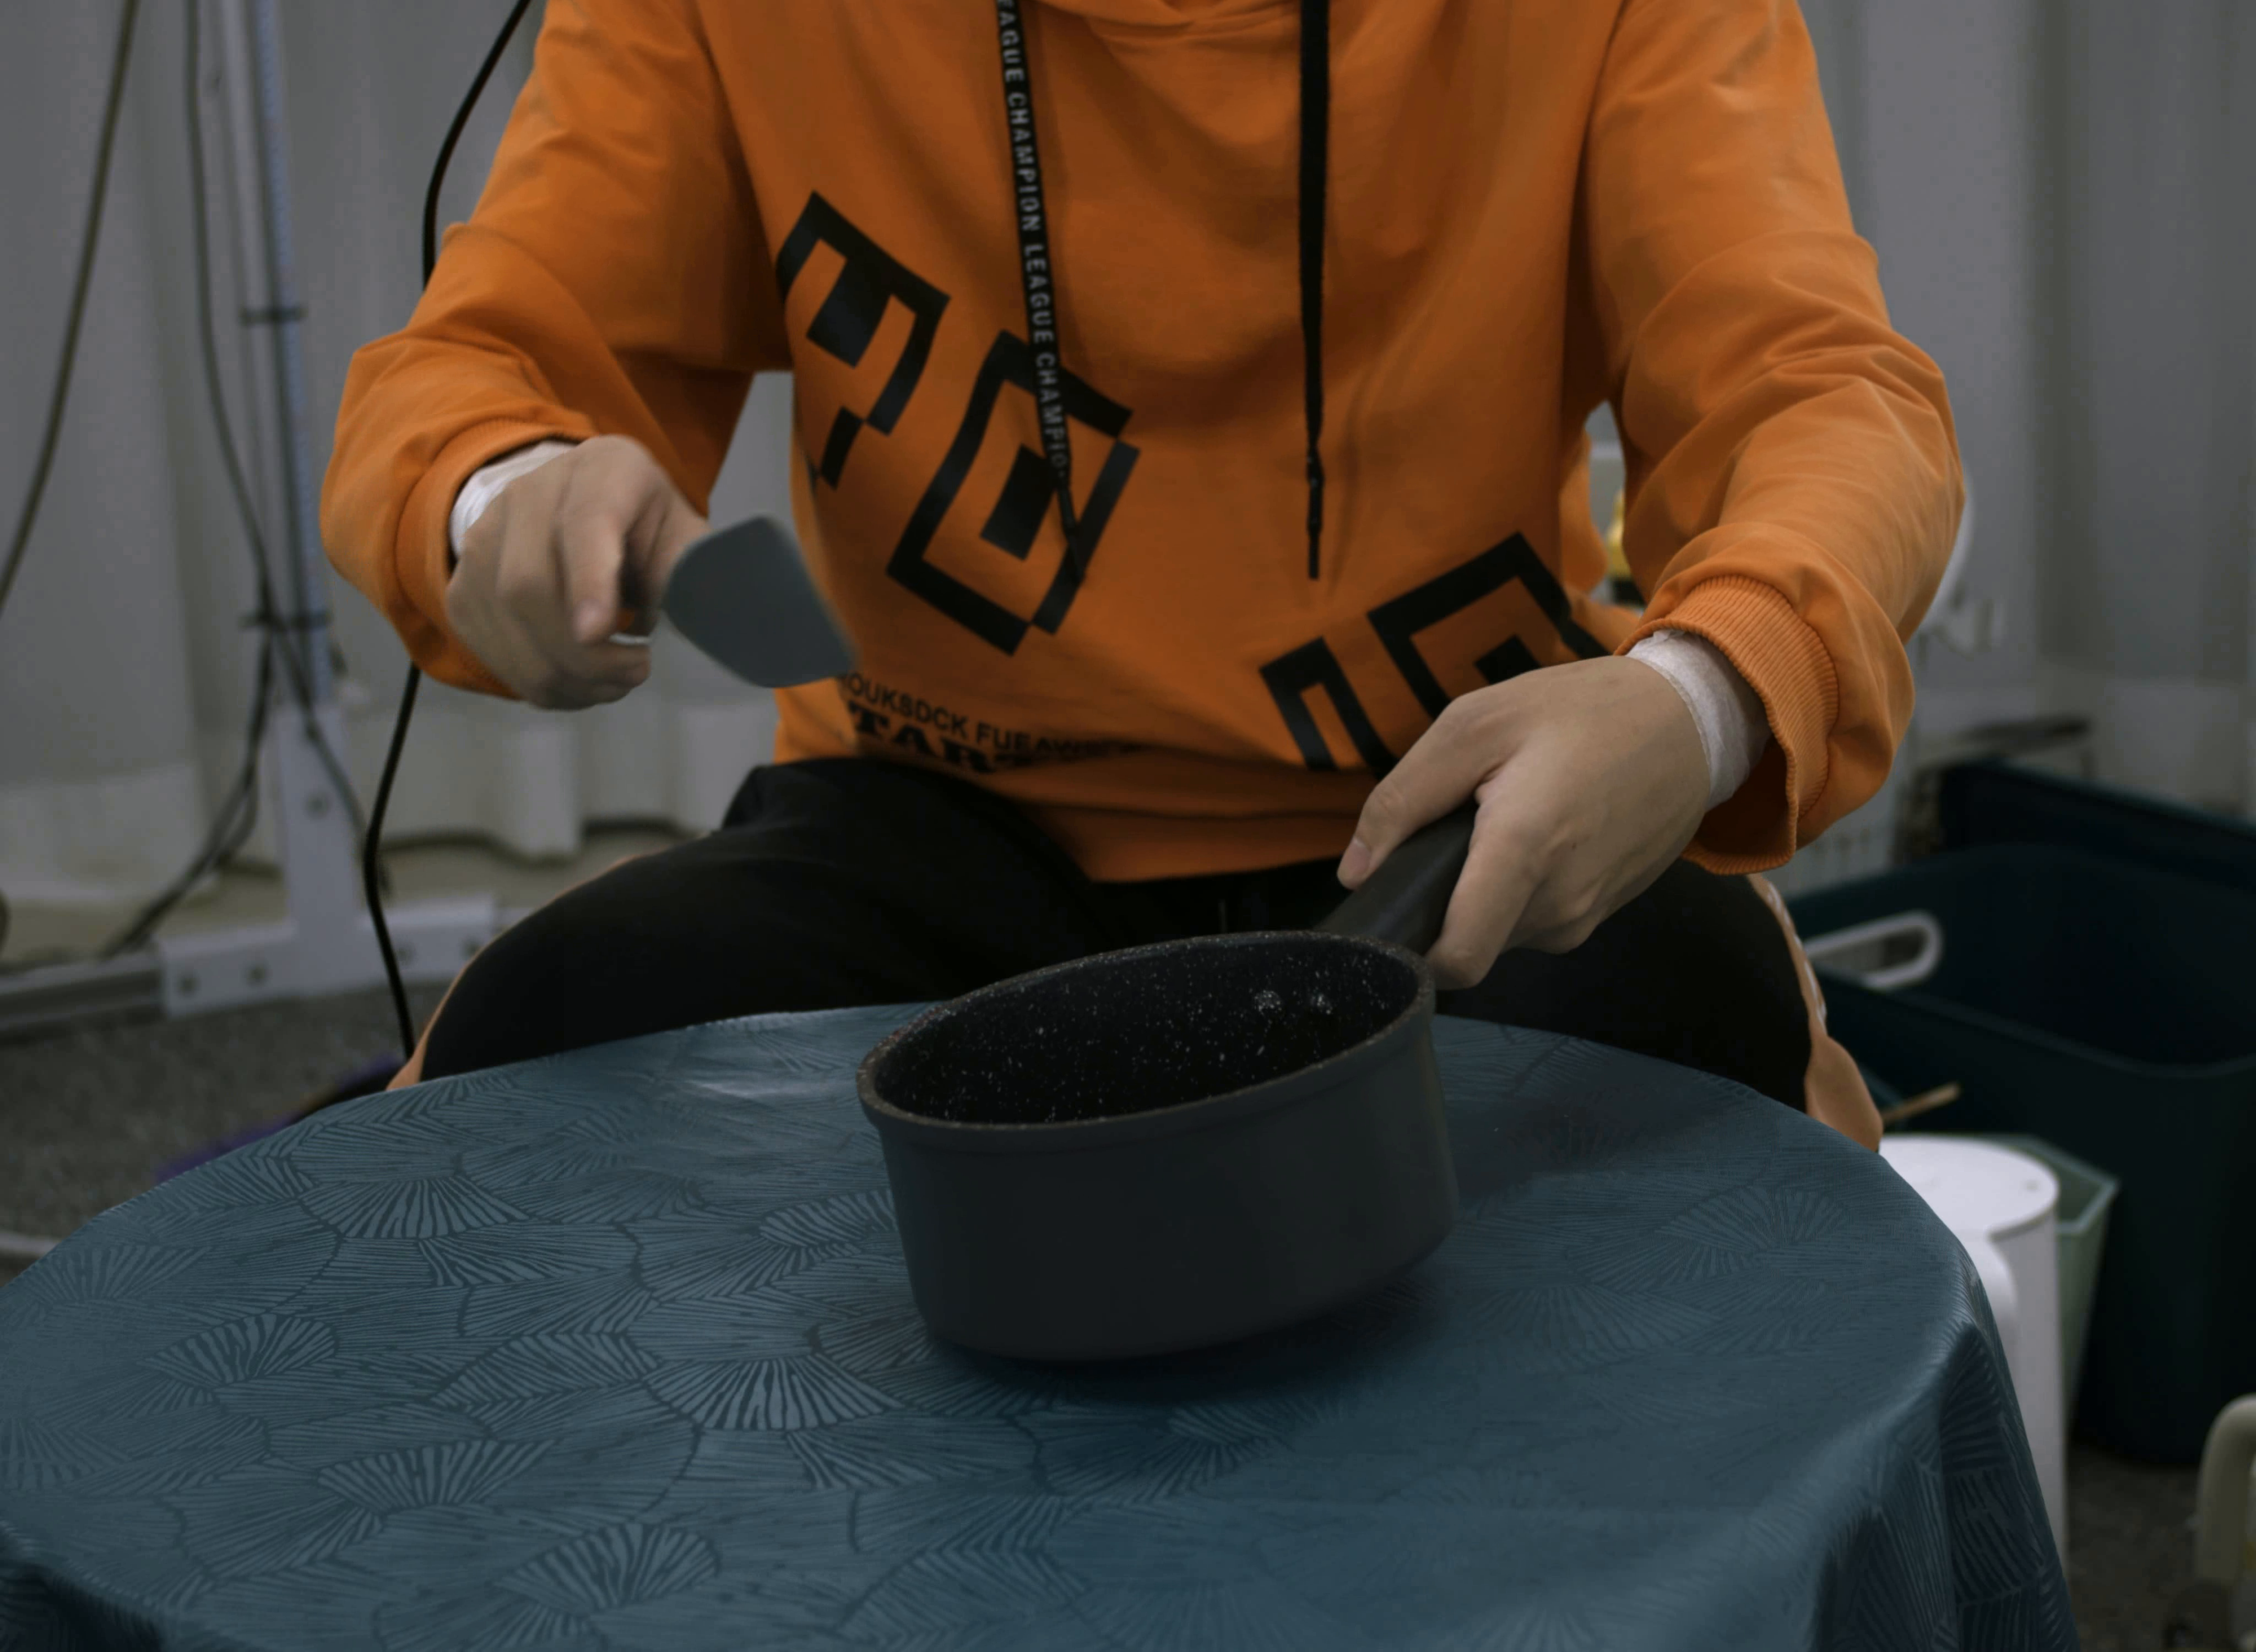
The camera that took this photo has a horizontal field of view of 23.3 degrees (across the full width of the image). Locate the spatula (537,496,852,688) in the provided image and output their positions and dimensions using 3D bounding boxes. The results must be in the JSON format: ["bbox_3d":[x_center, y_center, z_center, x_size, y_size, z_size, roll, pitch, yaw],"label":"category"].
[{"bbox_3d":[-0.136,-0.067,1.639,0.032,0.058,0.288,-29,10,-13],"label":"spatula"}]

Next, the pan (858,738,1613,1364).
[{"bbox_3d":[0.056,0.065,1.654,0.172,0.086,0.329,1,20,36],"label":"pan"}]
